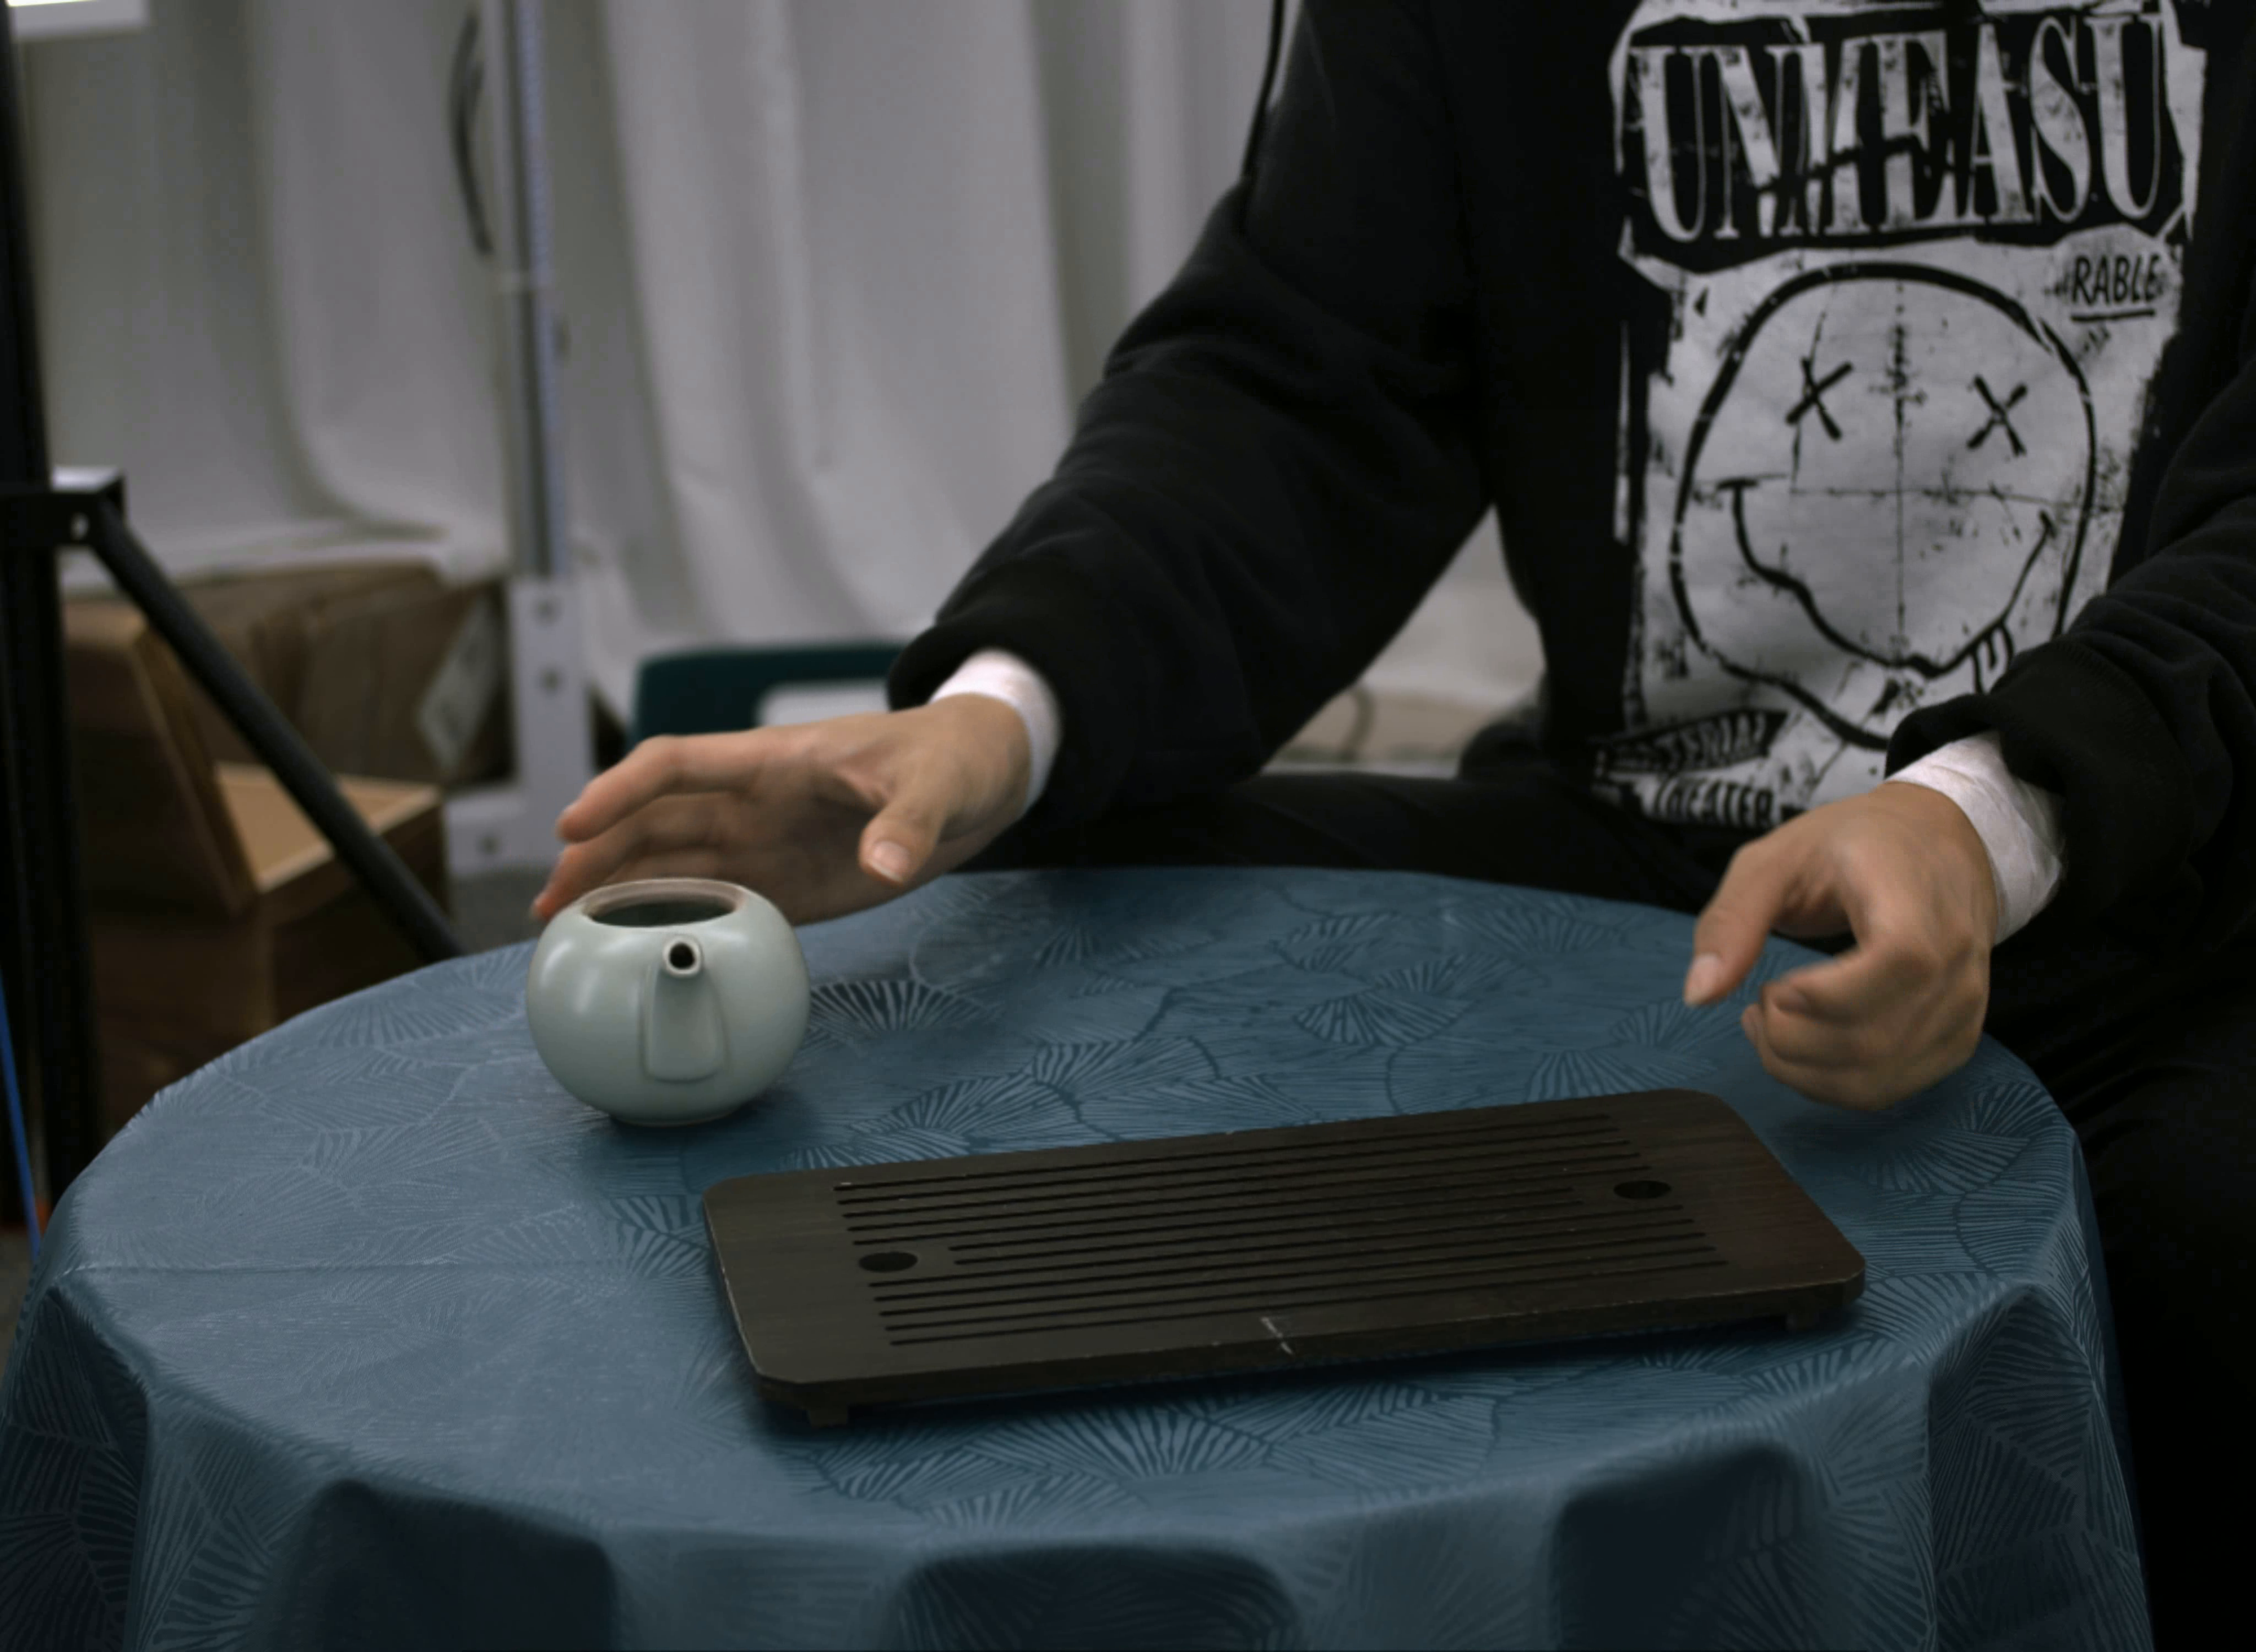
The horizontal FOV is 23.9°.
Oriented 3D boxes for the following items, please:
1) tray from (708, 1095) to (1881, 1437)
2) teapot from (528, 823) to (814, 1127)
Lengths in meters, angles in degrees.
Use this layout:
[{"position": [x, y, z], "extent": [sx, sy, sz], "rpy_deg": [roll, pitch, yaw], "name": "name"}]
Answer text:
[{"position": [0.042, 0.121, 1.470], "extent": [0.303, 0.018, 0.172], "rpy_deg": [-4, 16, -7], "name": "tray"}, {"position": [-0.141, 0.052, 1.644], "extent": [0.087, 0.075, 0.145], "rpy_deg": [-4, 17, -7], "name": "teapot"}]
